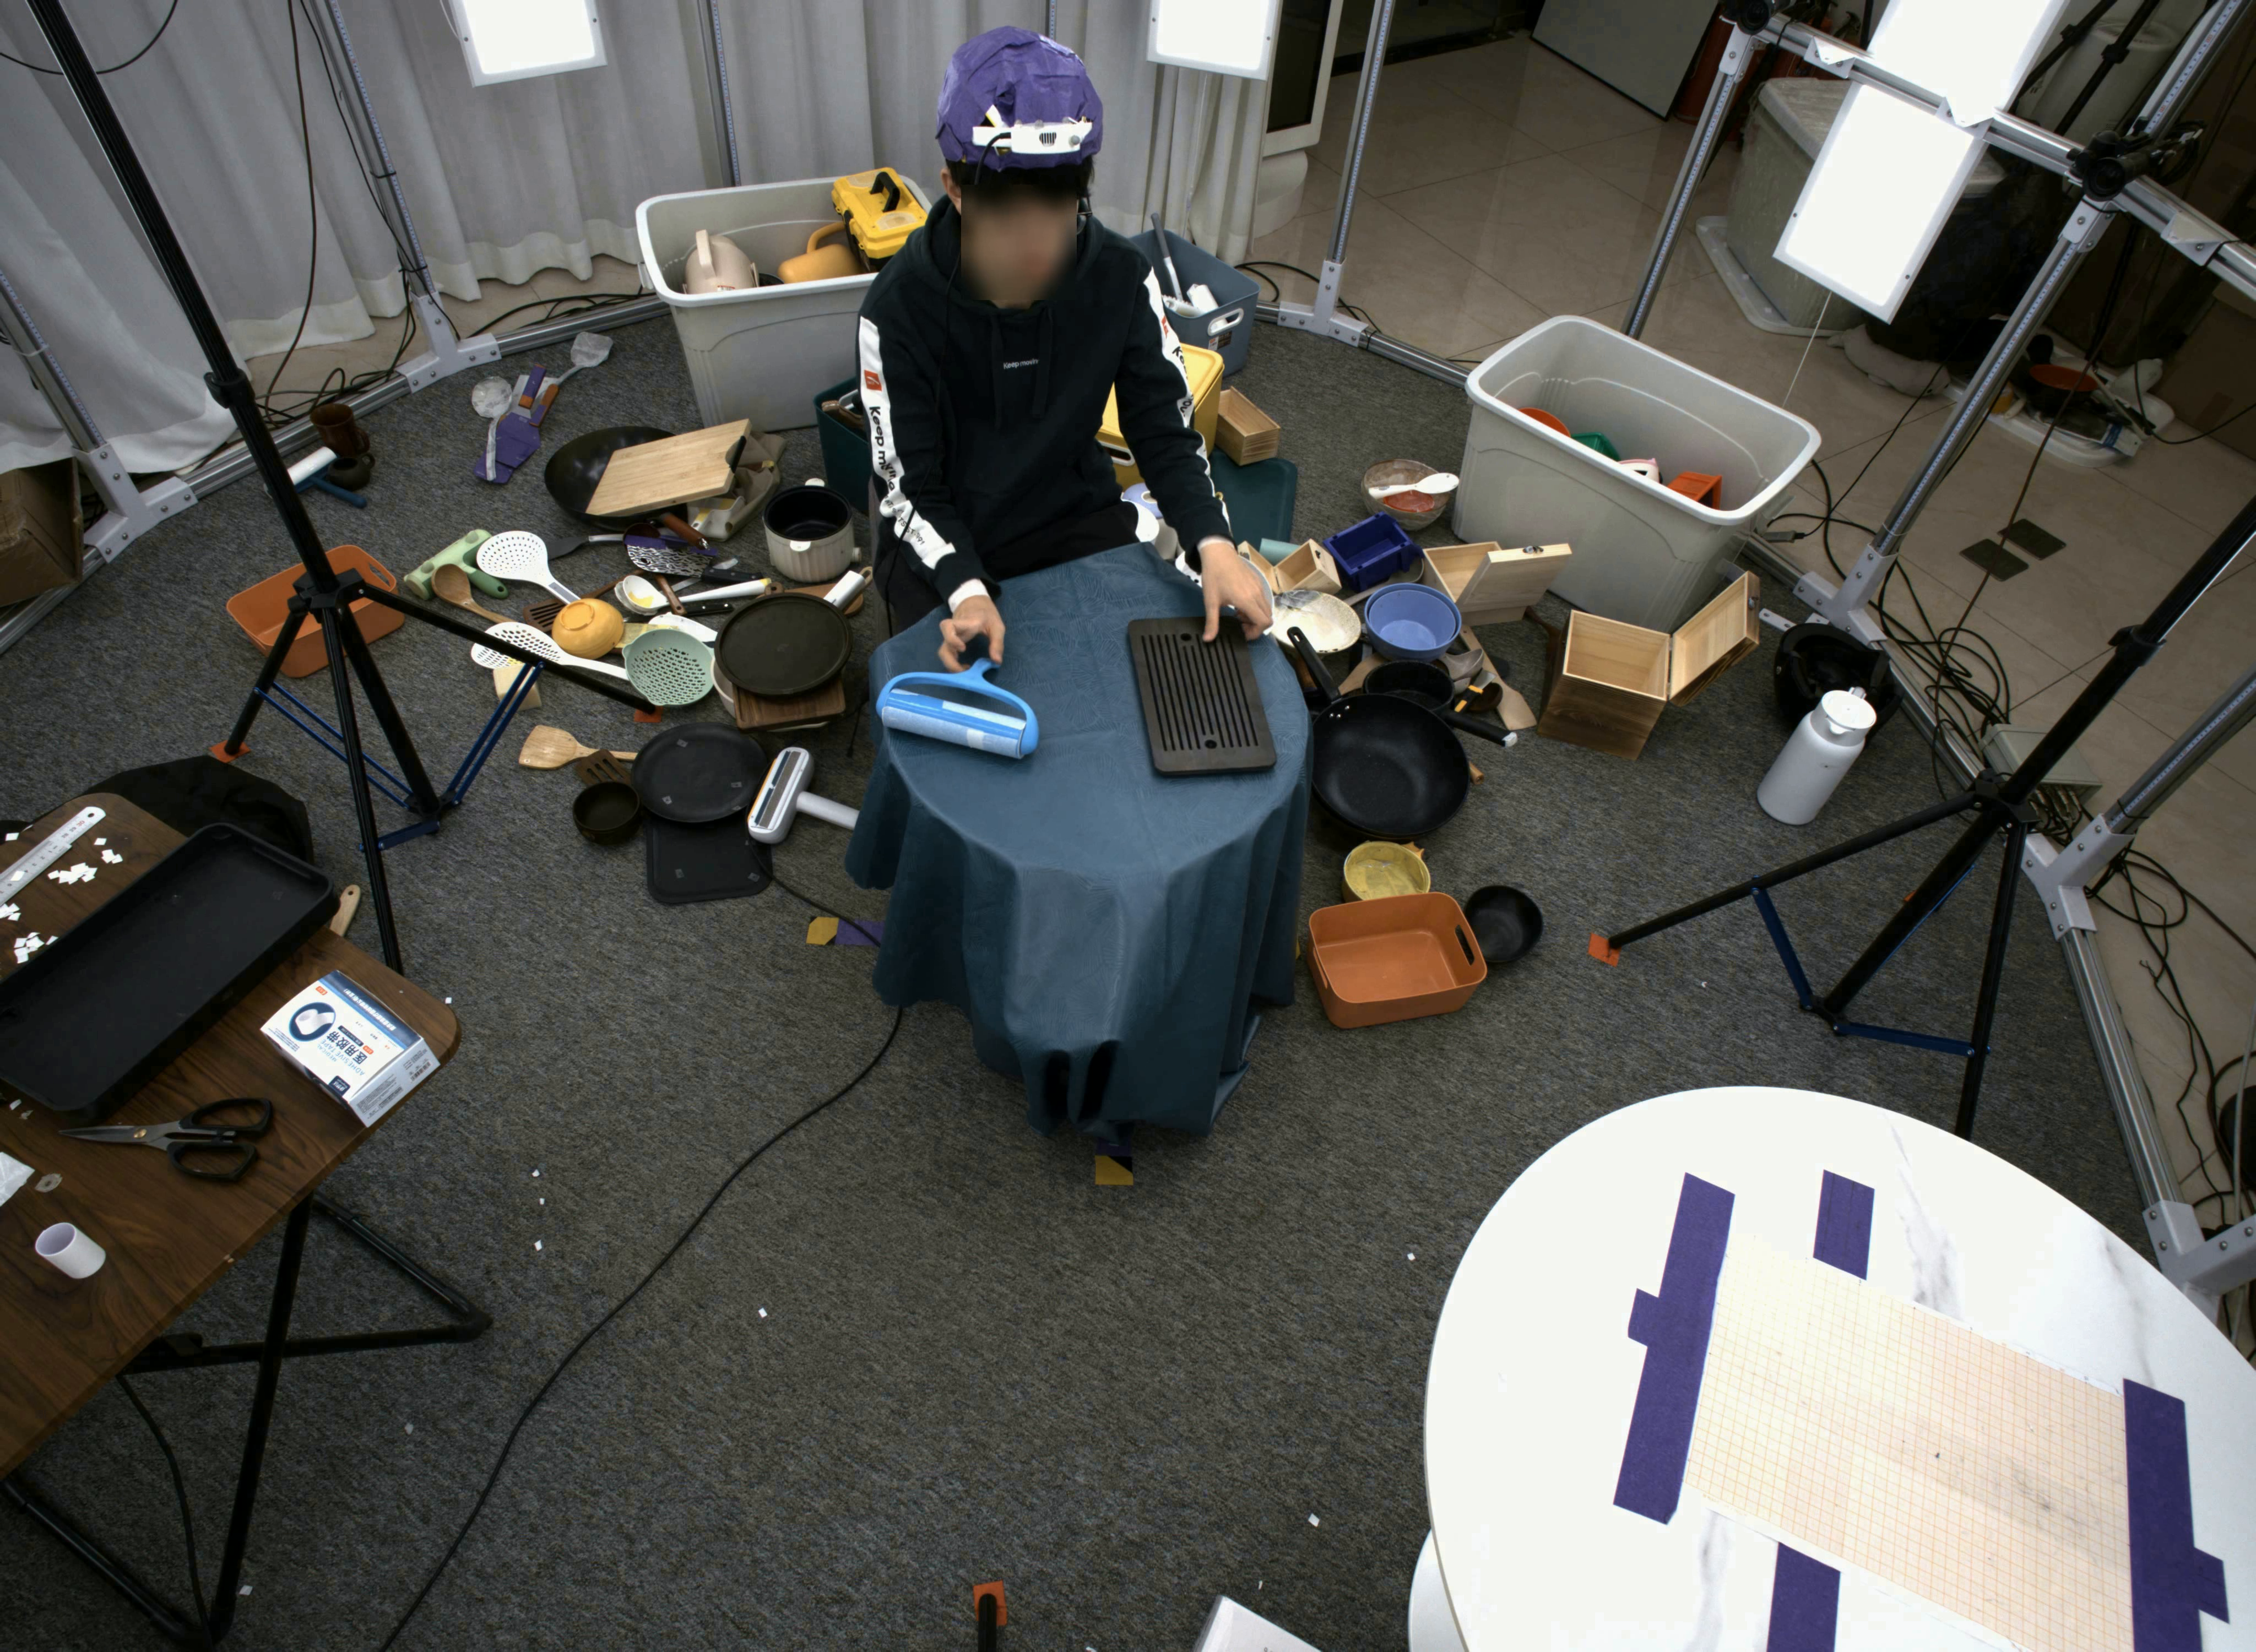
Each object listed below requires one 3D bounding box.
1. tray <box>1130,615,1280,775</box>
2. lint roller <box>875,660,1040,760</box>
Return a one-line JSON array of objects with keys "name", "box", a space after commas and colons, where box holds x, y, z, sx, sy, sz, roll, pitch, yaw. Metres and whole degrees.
[{"name": "tray", "box": [0.105, -0.191, 1.828, 0.170, 0.018, 0.314, -4, 50, -7]}, {"name": "lint roller", "box": [-0.217, -0.183, 1.775, 0.229, 0.066, 0.184, 11, 51, 8]}]
